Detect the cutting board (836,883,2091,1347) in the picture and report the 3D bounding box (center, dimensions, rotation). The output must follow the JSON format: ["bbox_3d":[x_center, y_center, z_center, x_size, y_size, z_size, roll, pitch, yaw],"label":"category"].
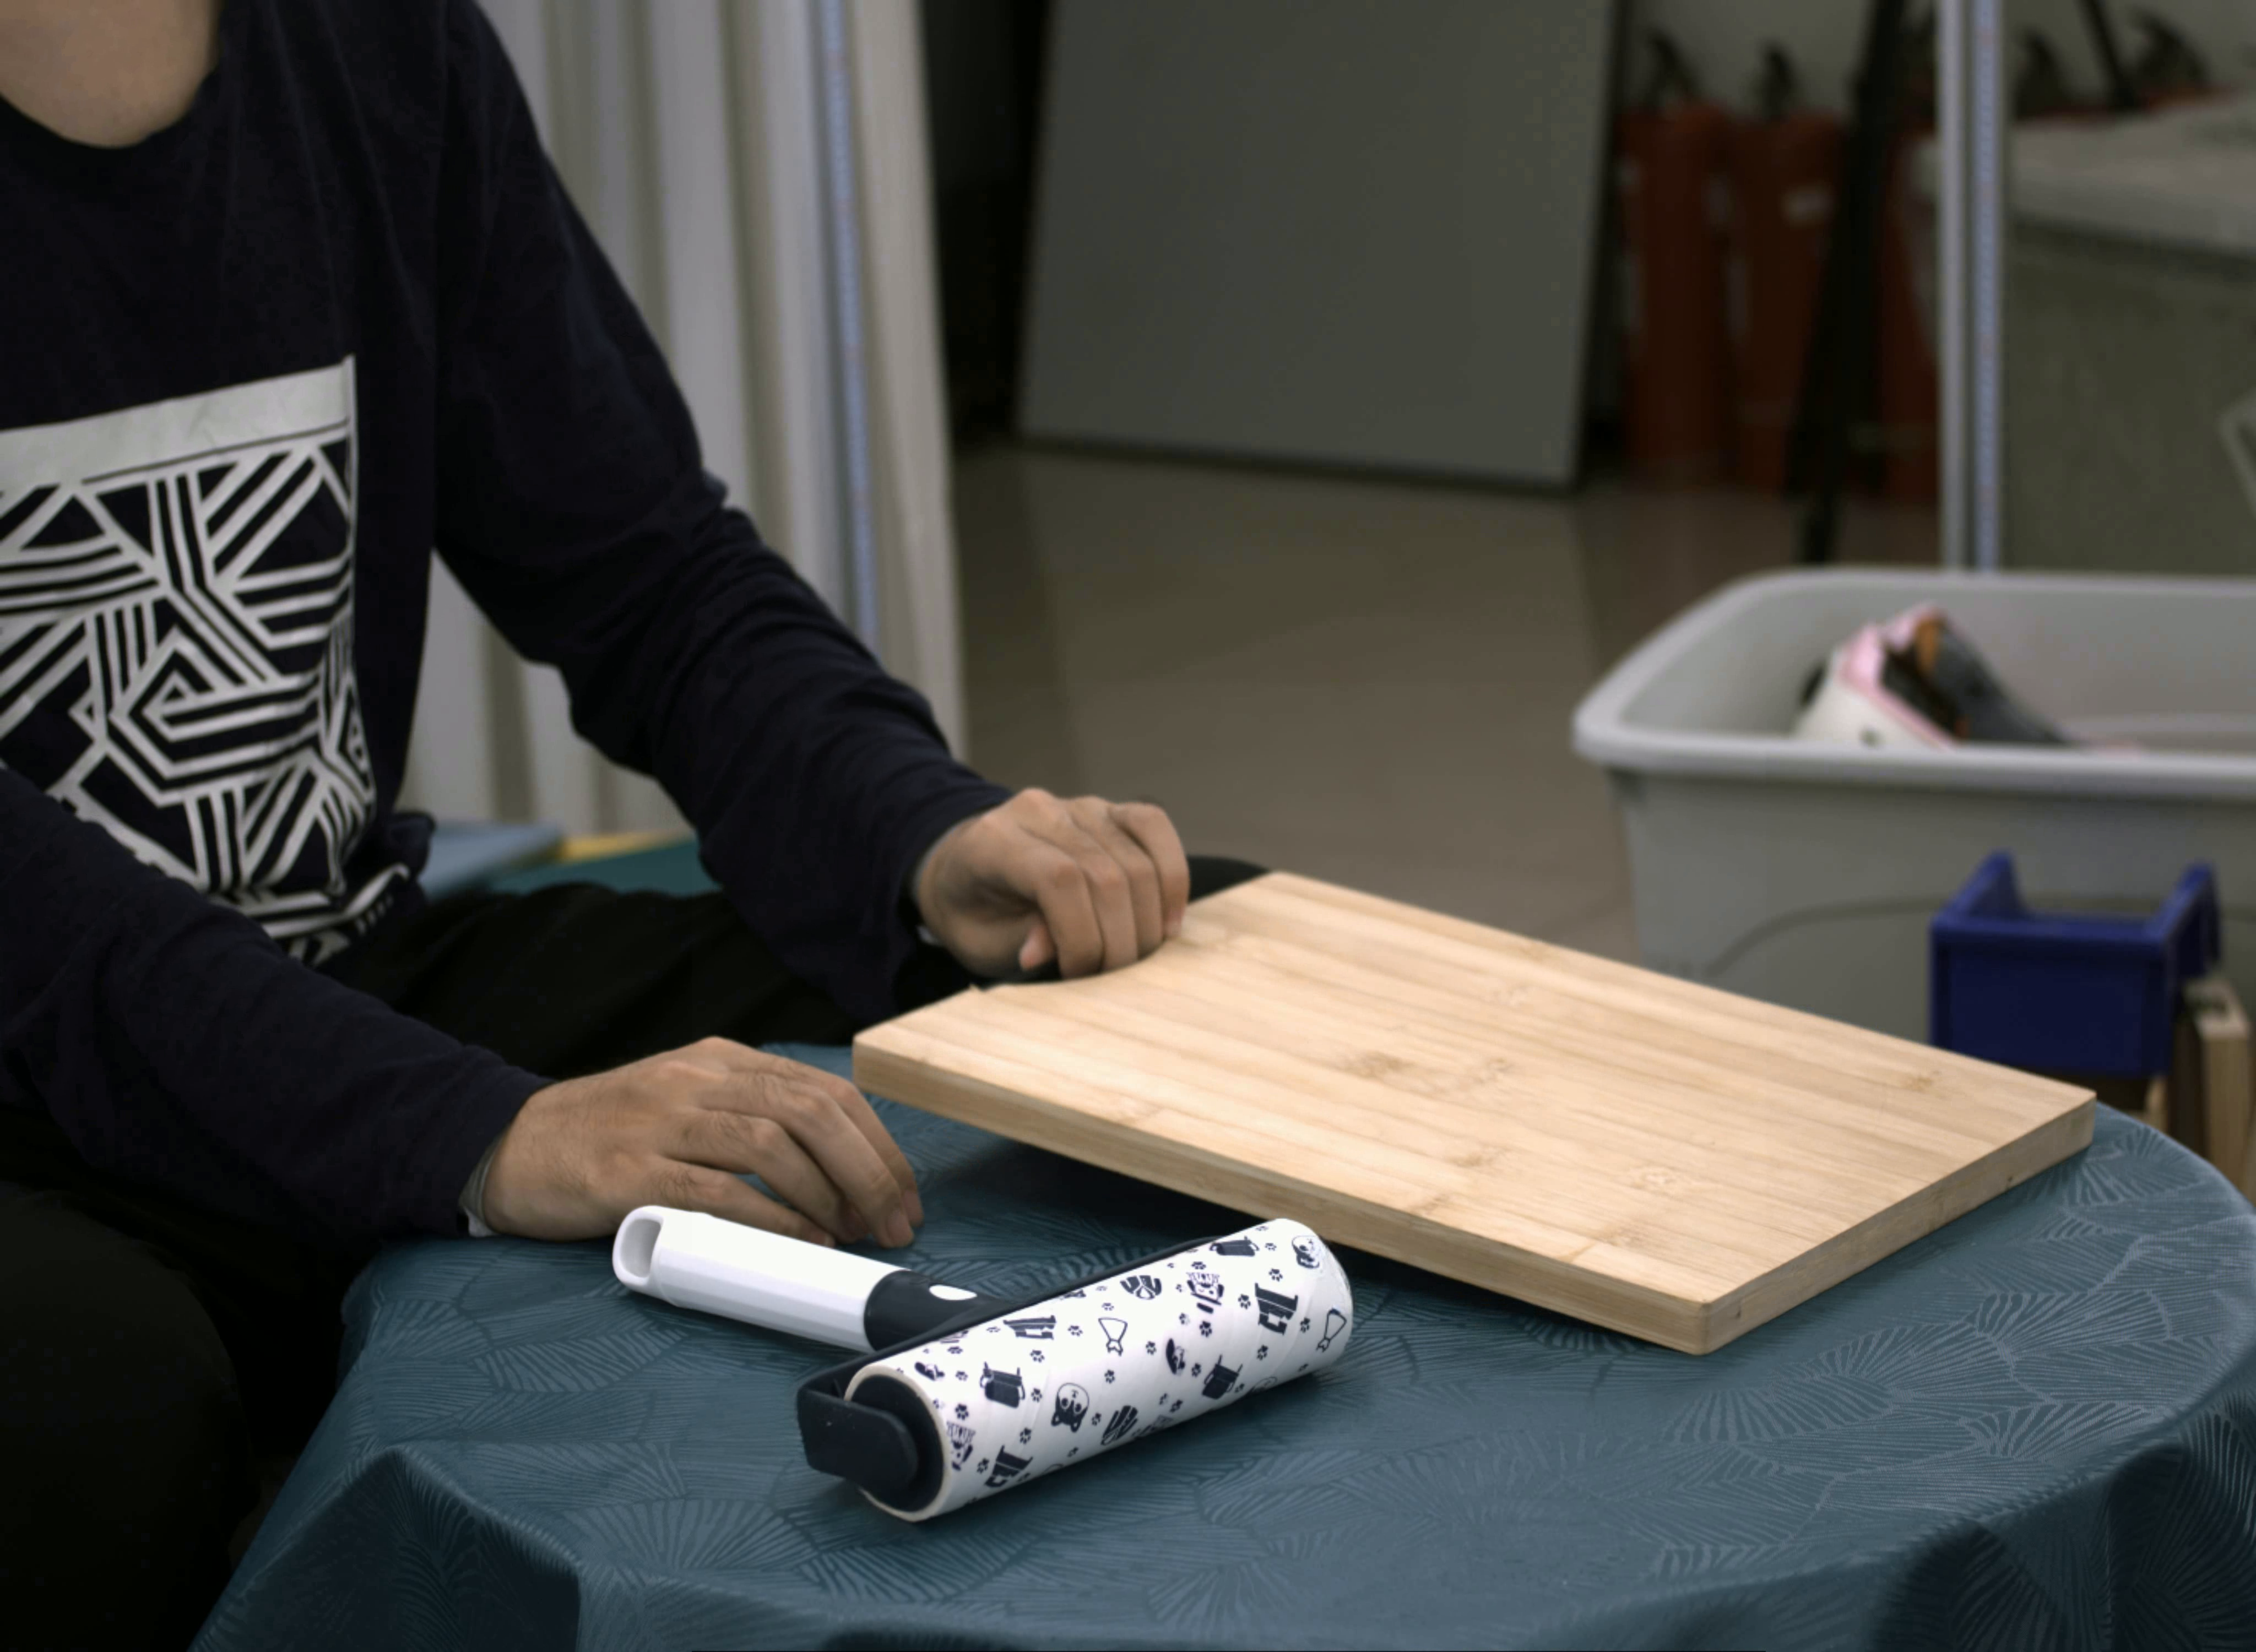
[{"bbox_3d":[0.108,0.089,1.773,0.351,0.024,0.246,14,21,37],"label":"cutting board"}]

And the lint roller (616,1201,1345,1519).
[{"bbox_3d":[-0.076,0.144,1.616,0.172,0.051,0.249,-17,16,-40],"label":"lint roller"}]
